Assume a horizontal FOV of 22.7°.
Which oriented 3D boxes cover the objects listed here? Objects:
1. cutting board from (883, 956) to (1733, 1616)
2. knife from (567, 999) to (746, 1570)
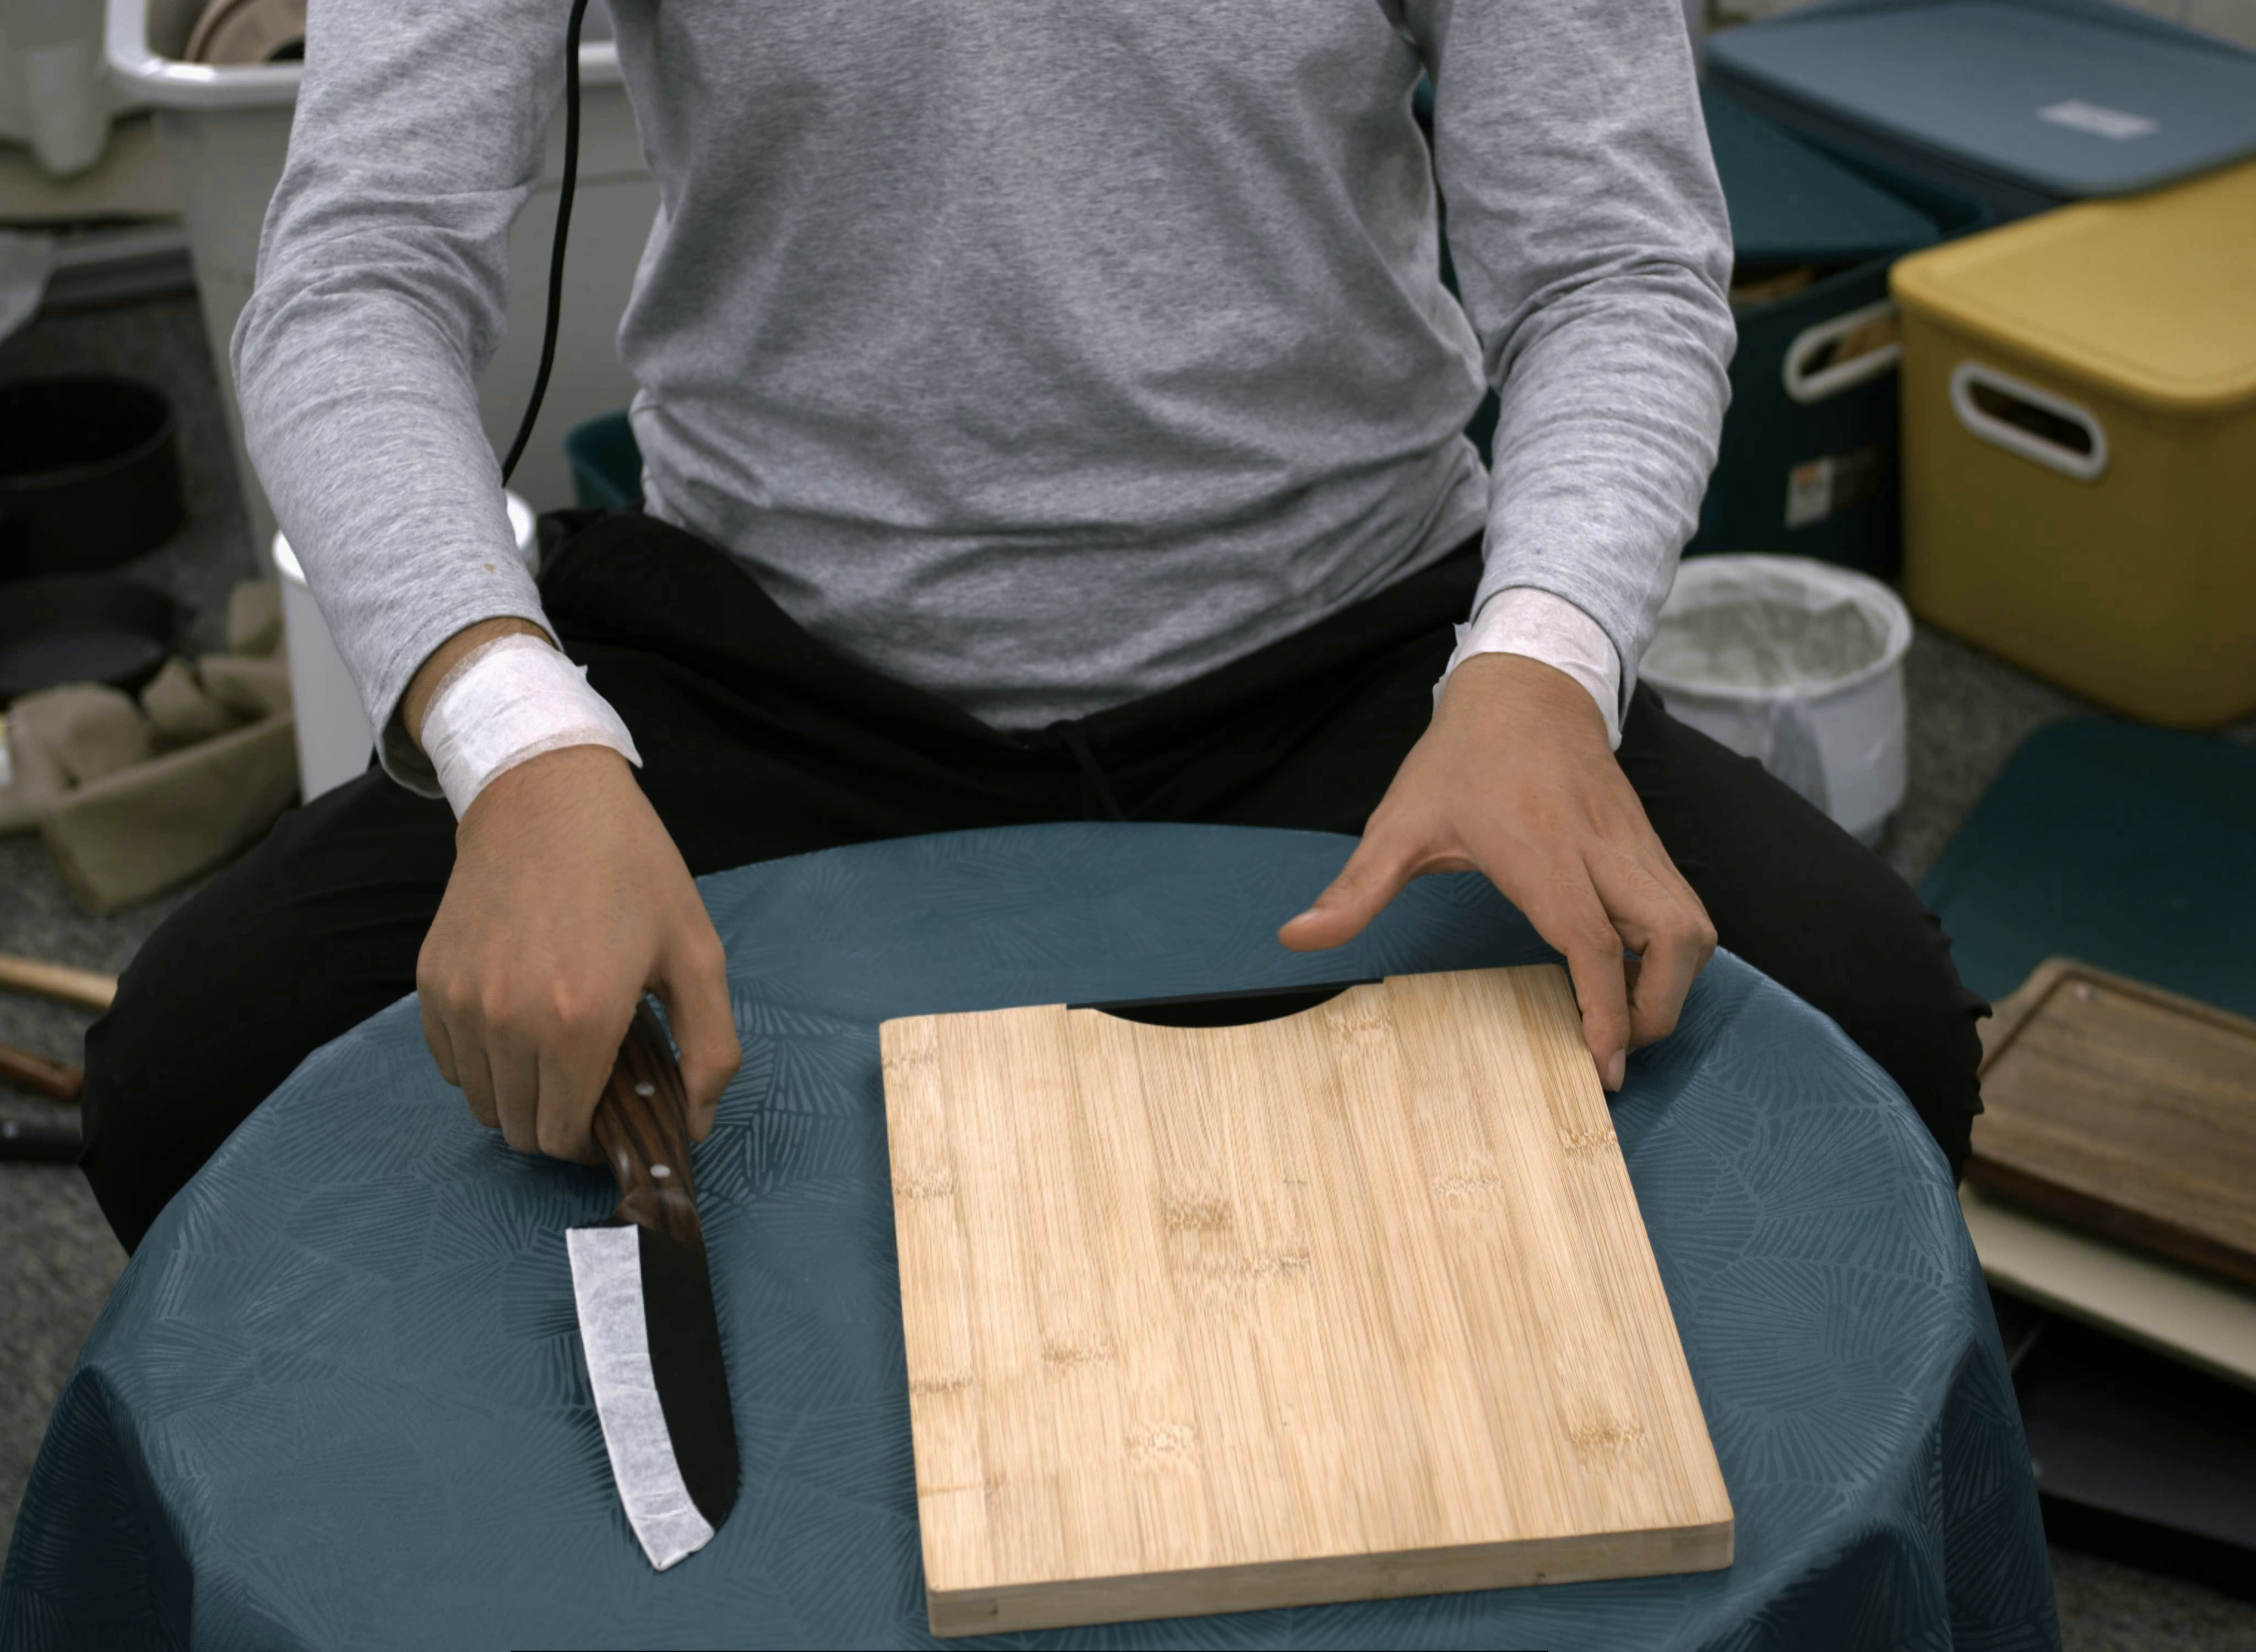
[{"bbox_3d":[0.047,0.141,1.802,0.250,0.023,0.353,-4,27,-4],"label":"cutting board"},{"bbox_3d":[-0.154,0.144,1.797,0.050,0.020,0.293,1,32,-9],"label":"knife"}]
